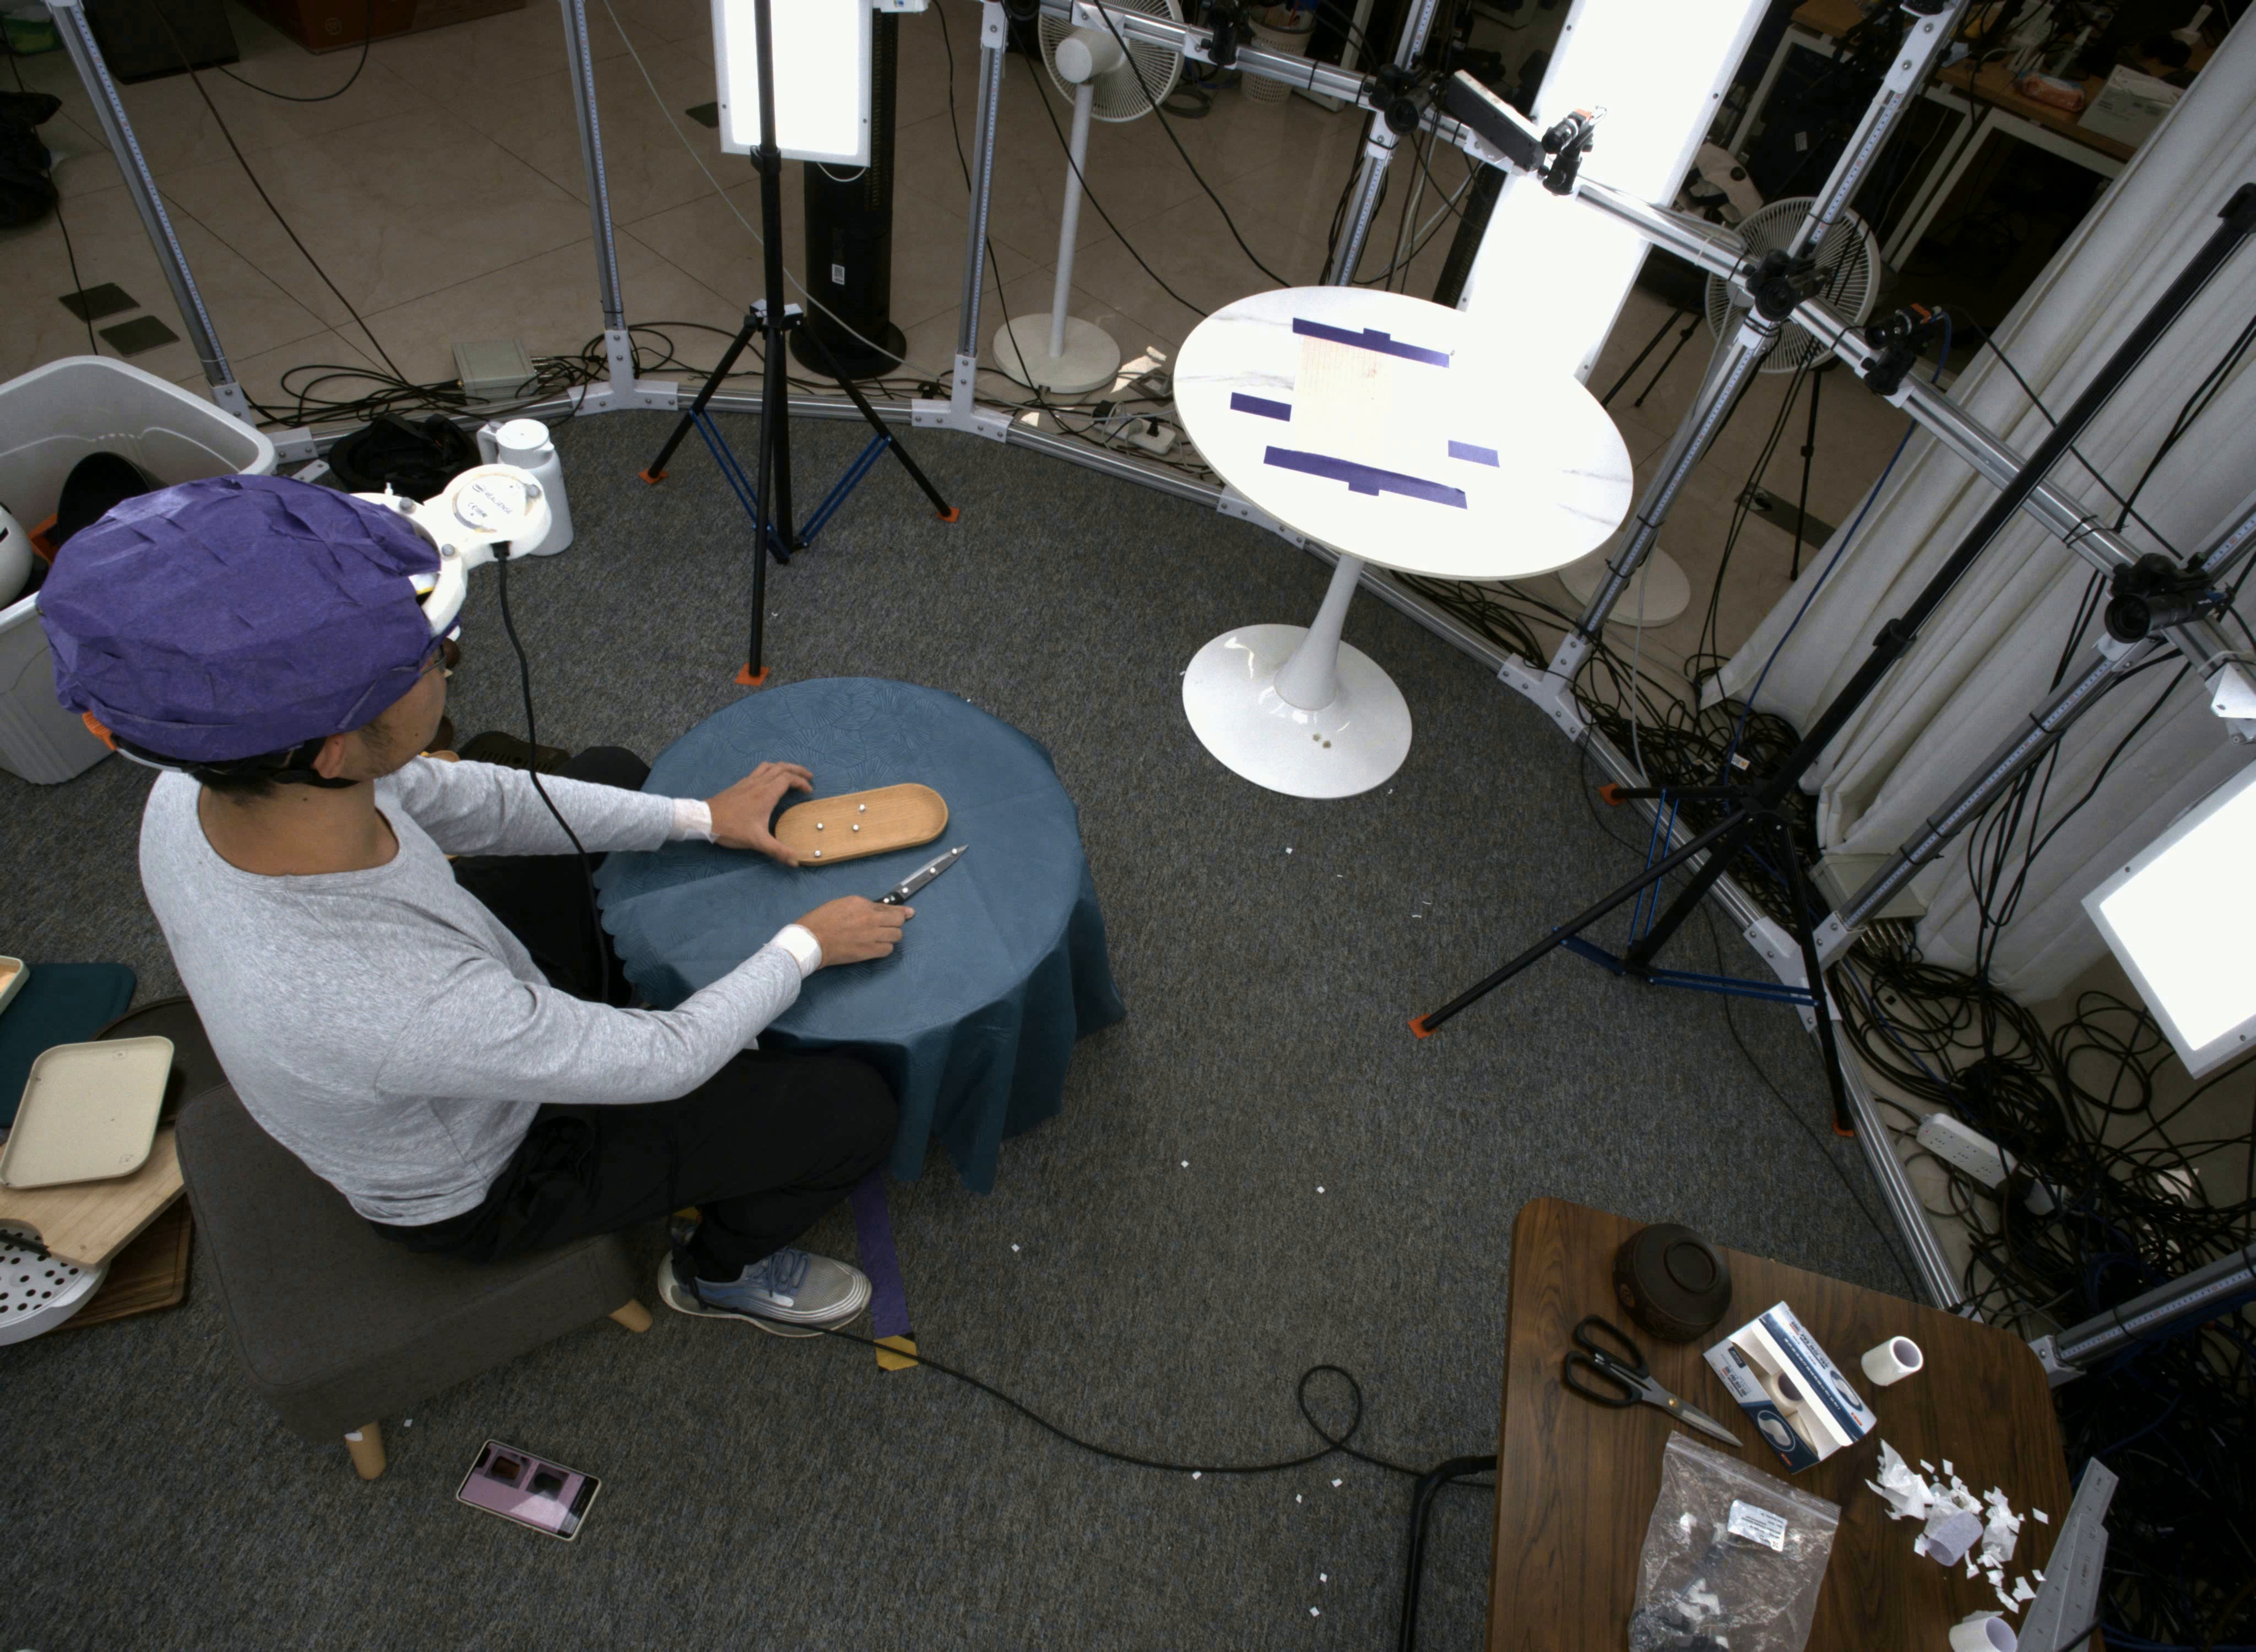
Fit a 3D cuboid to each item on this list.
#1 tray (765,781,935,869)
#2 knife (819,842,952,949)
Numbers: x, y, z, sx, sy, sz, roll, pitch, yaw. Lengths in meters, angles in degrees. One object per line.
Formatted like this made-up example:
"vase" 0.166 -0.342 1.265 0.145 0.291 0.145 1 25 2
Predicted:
"tray" -0.371 -0.003 1.741 0.232 0.020 0.099 -14 60 -25
"knife" -0.309 0.086 1.693 0.024 0.016 0.238 42 53 10
